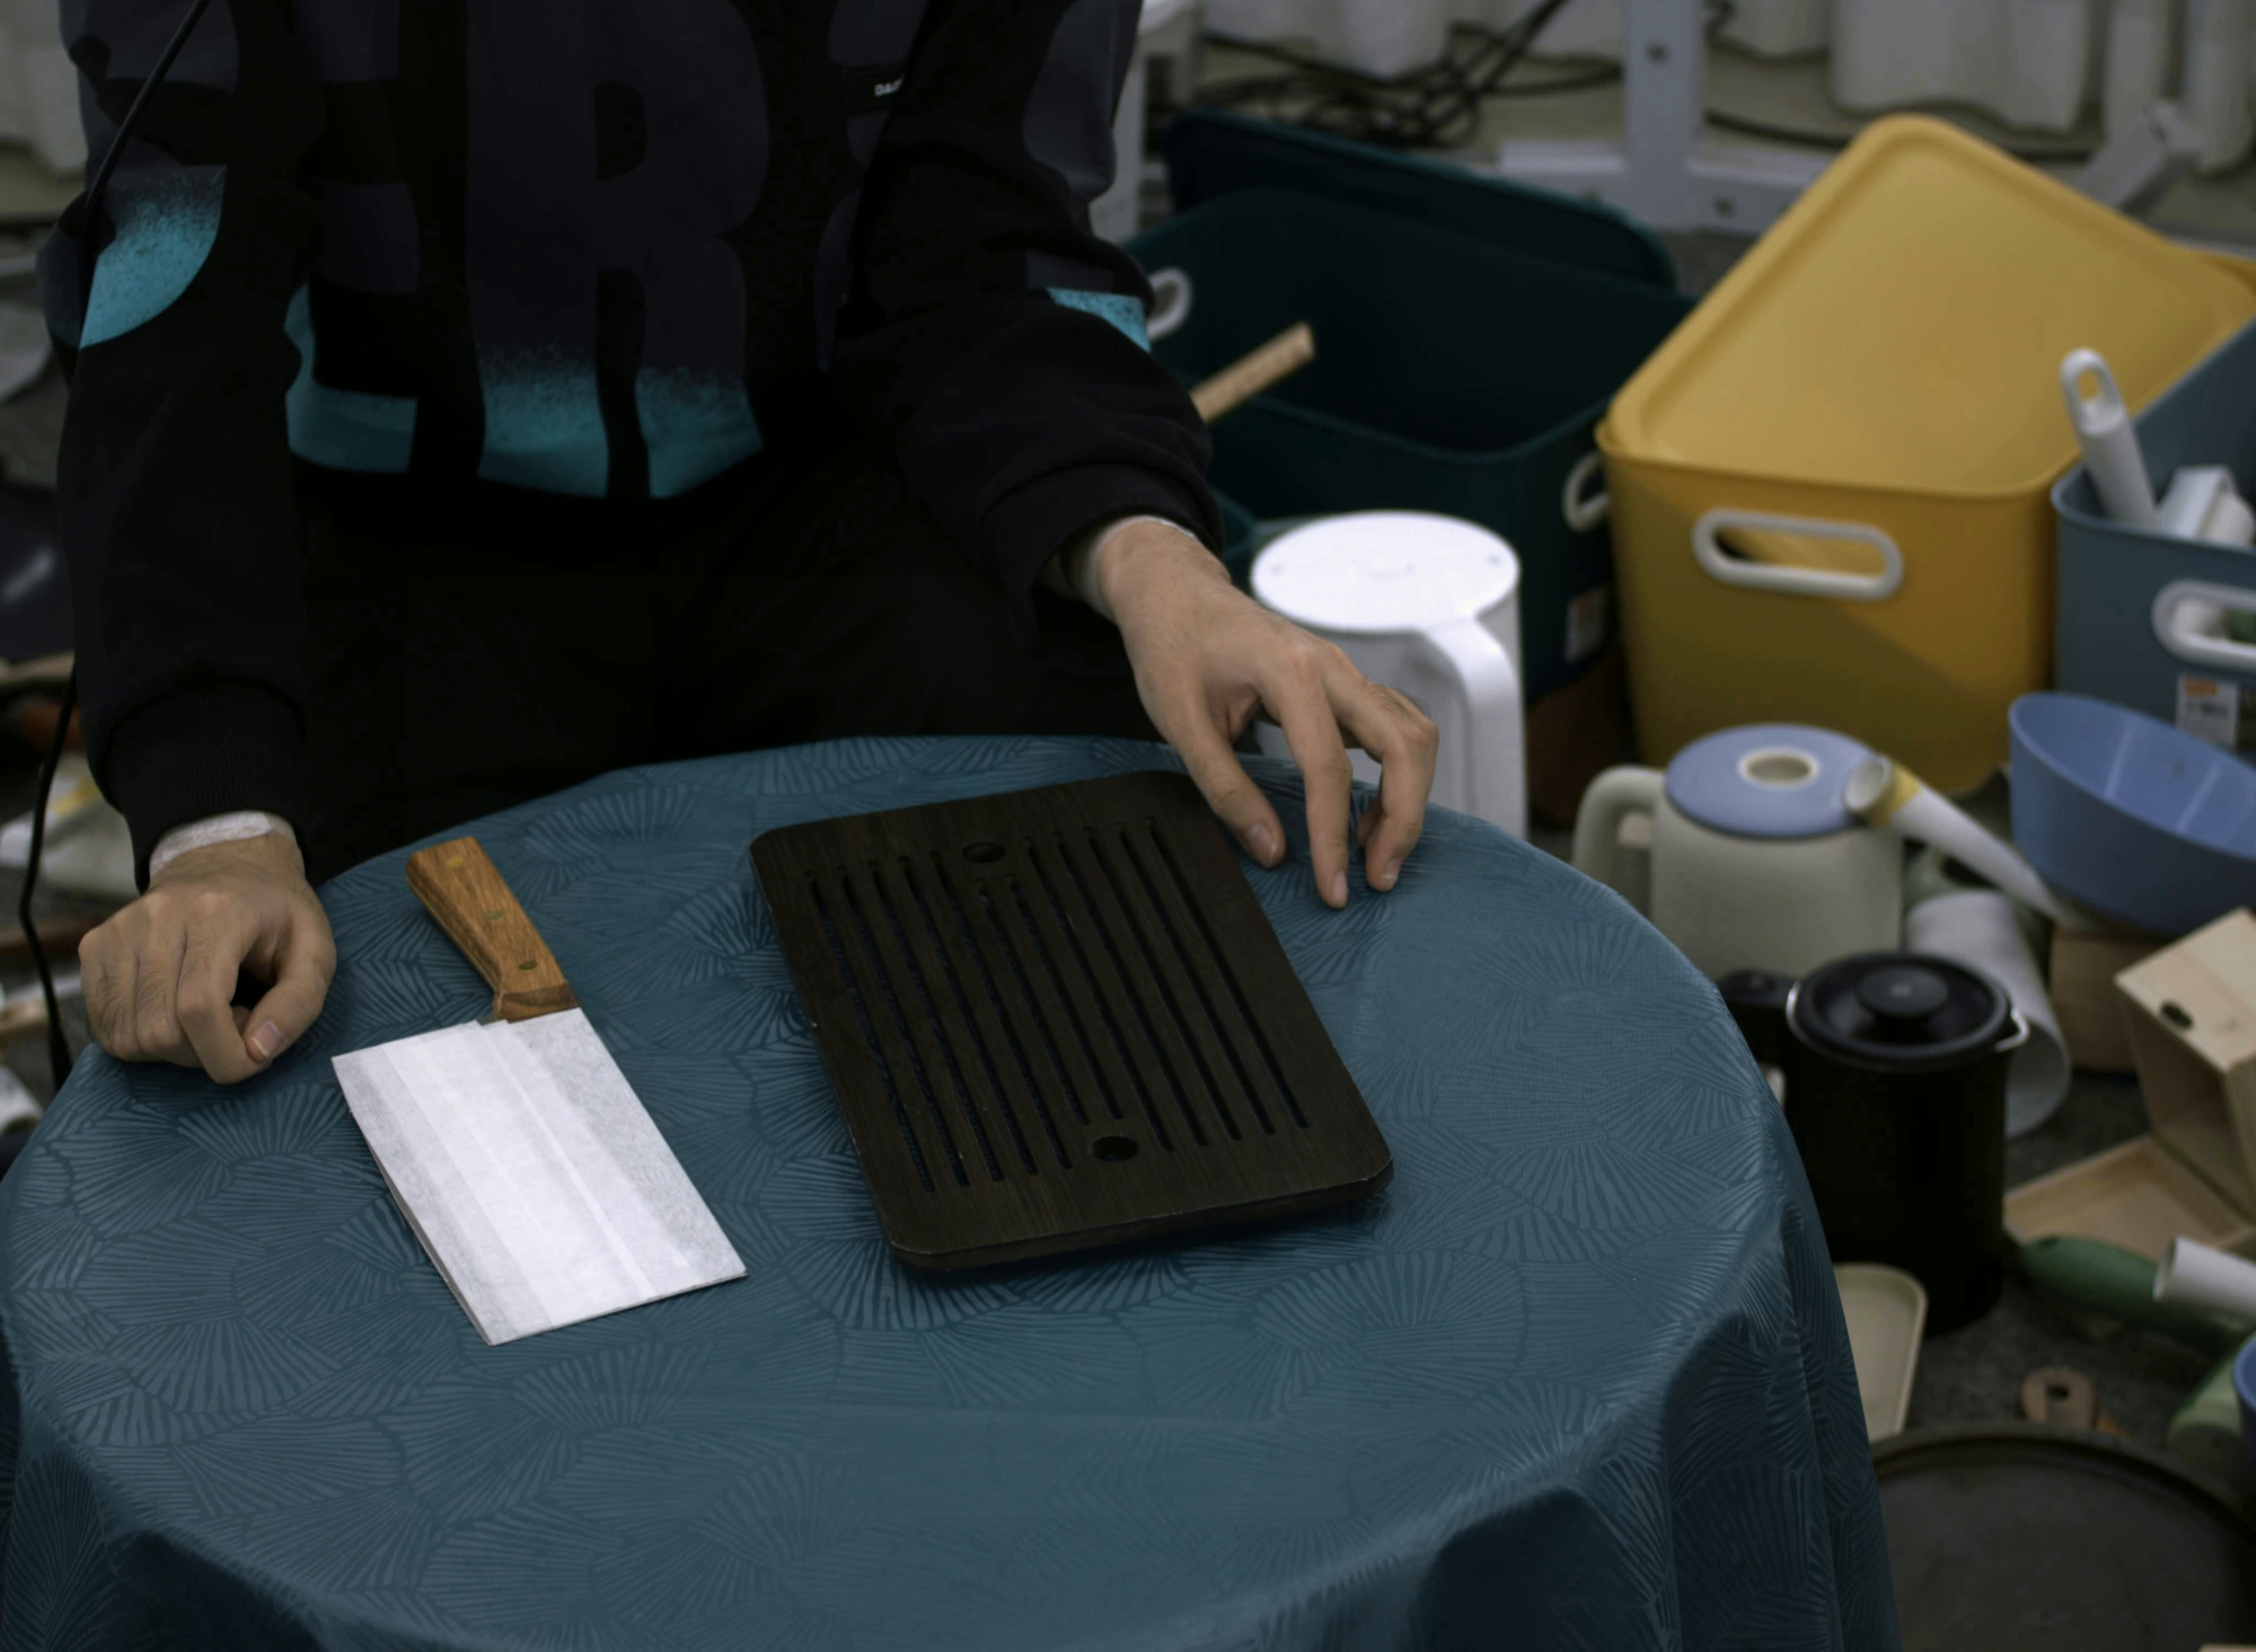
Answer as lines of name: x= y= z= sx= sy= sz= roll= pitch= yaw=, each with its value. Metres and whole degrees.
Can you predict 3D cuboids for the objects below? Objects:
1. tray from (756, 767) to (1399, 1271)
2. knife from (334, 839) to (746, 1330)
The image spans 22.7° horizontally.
tray: x=-0.024 y=0.064 z=1.955 sx=0.170 sy=0.018 sz=0.309 roll=-9 pitch=28 yaw=-10
knife: x=-0.220 y=0.088 z=1.933 sx=0.093 sy=0.021 sz=0.308 roll=-14 pitch=32 yaw=-18
